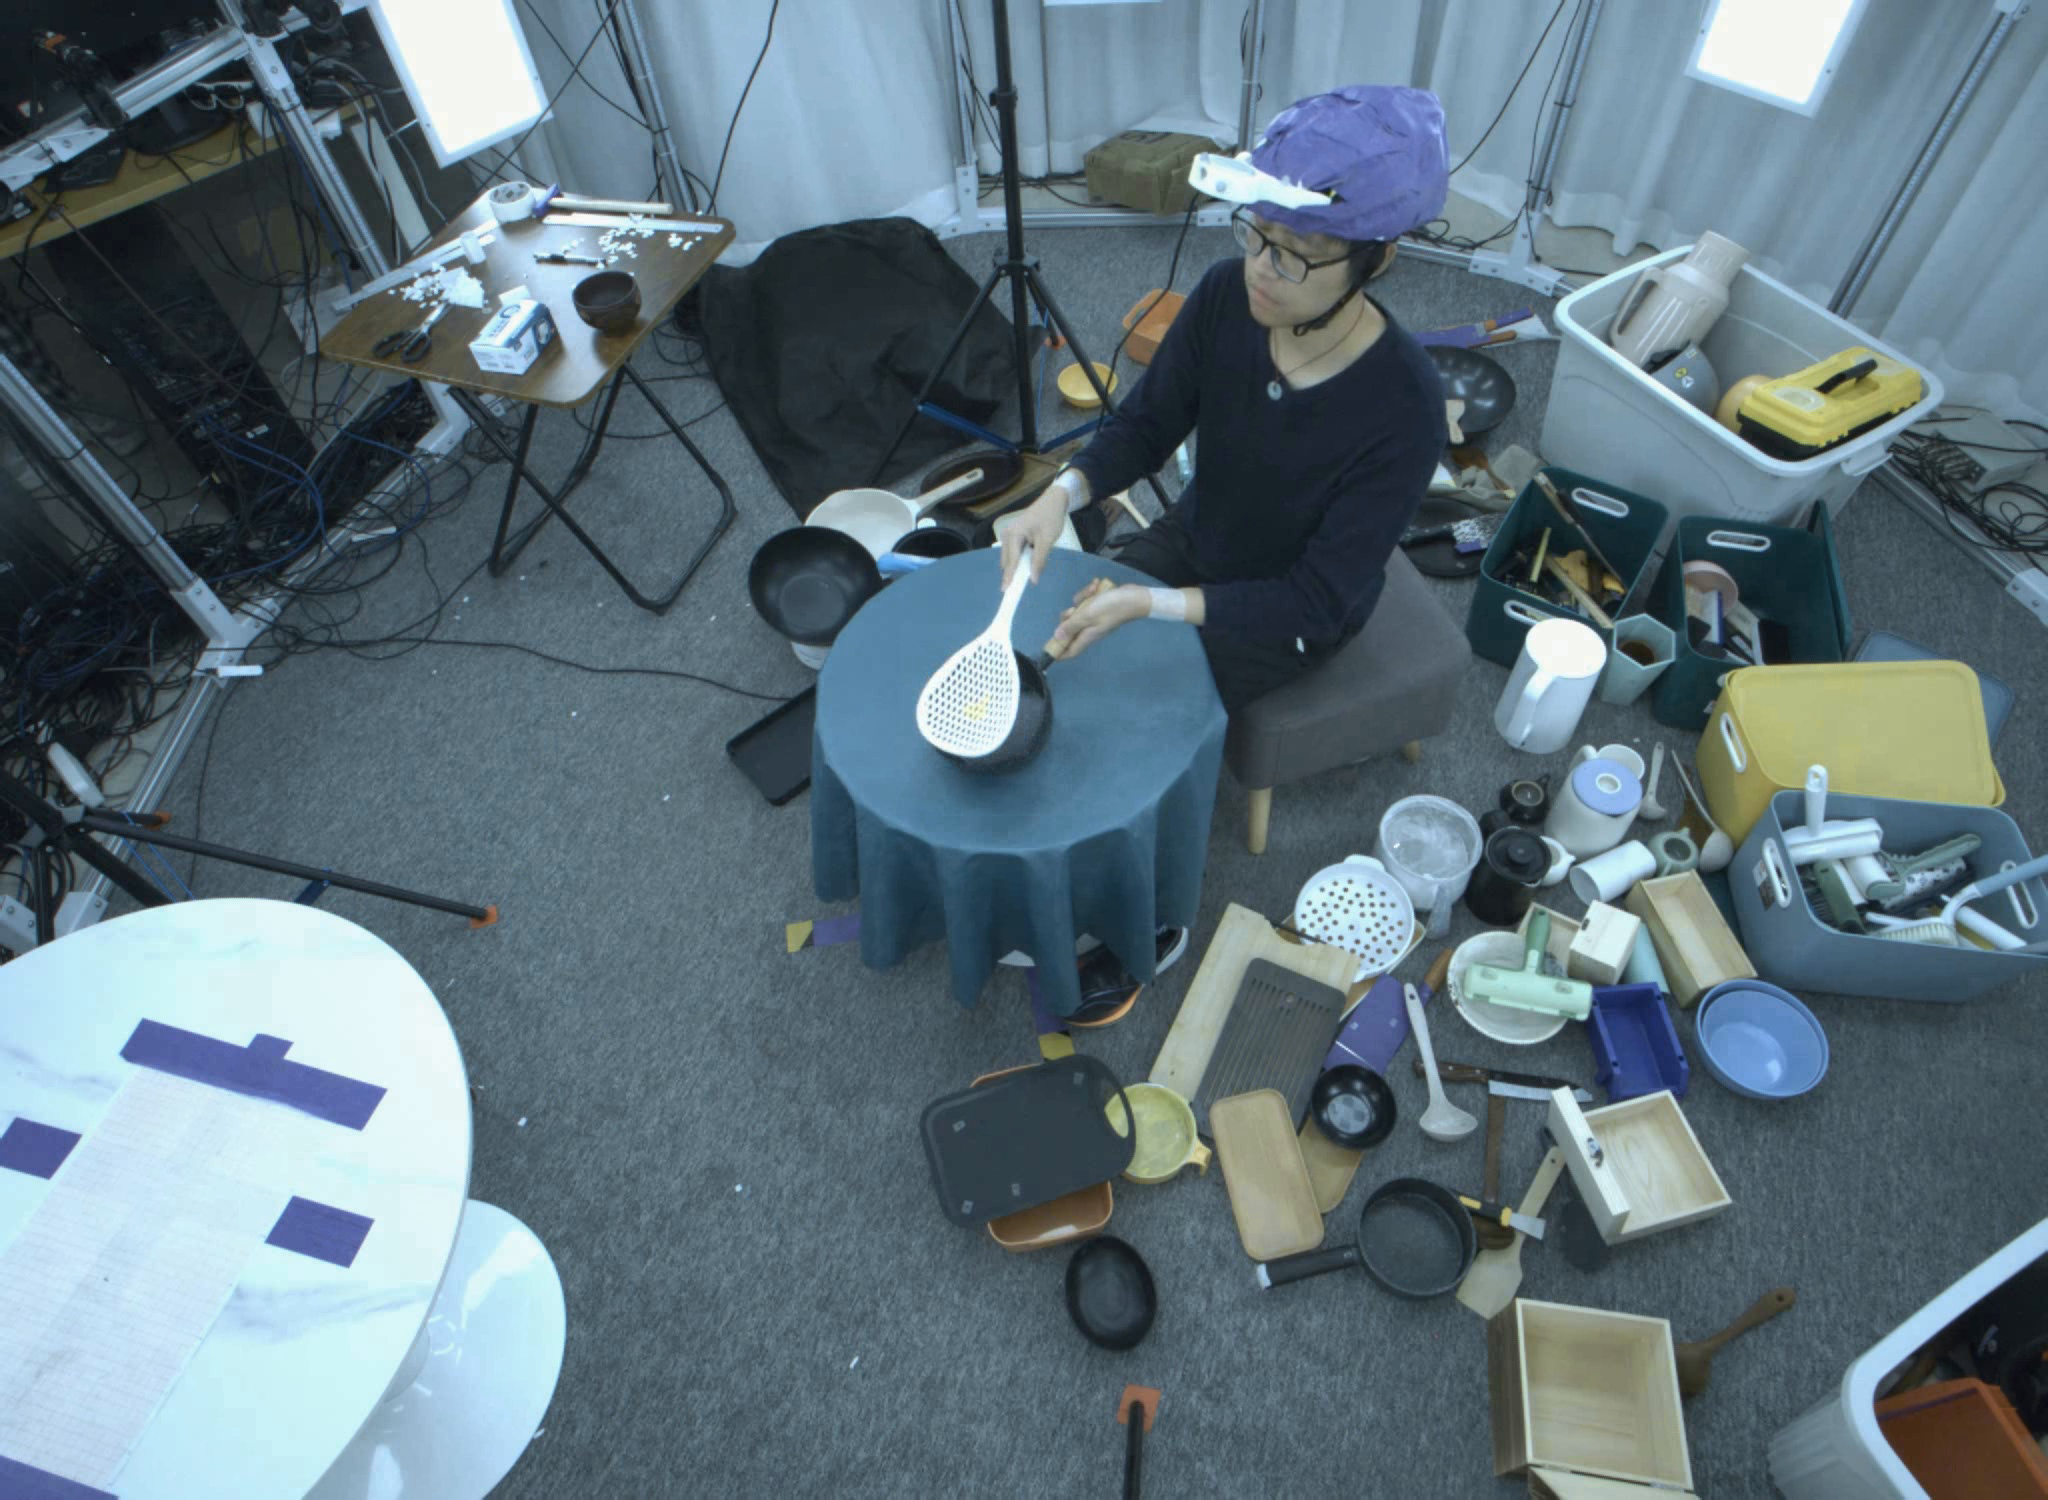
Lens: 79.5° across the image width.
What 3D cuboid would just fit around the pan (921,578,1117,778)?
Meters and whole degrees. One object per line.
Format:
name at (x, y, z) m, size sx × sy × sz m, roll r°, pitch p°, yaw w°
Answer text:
pan at (0.009, -0.105, 1.737) m, size 0.343 × 0.110 × 0.204 m, roll -44°, pitch 64°, yaw -1°

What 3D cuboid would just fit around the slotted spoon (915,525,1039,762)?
slotted spoon at (-0.037, -0.150, 1.671) m, size 0.136 × 0.051 × 0.347 m, roll 18°, pitch 86°, yaw 10°
